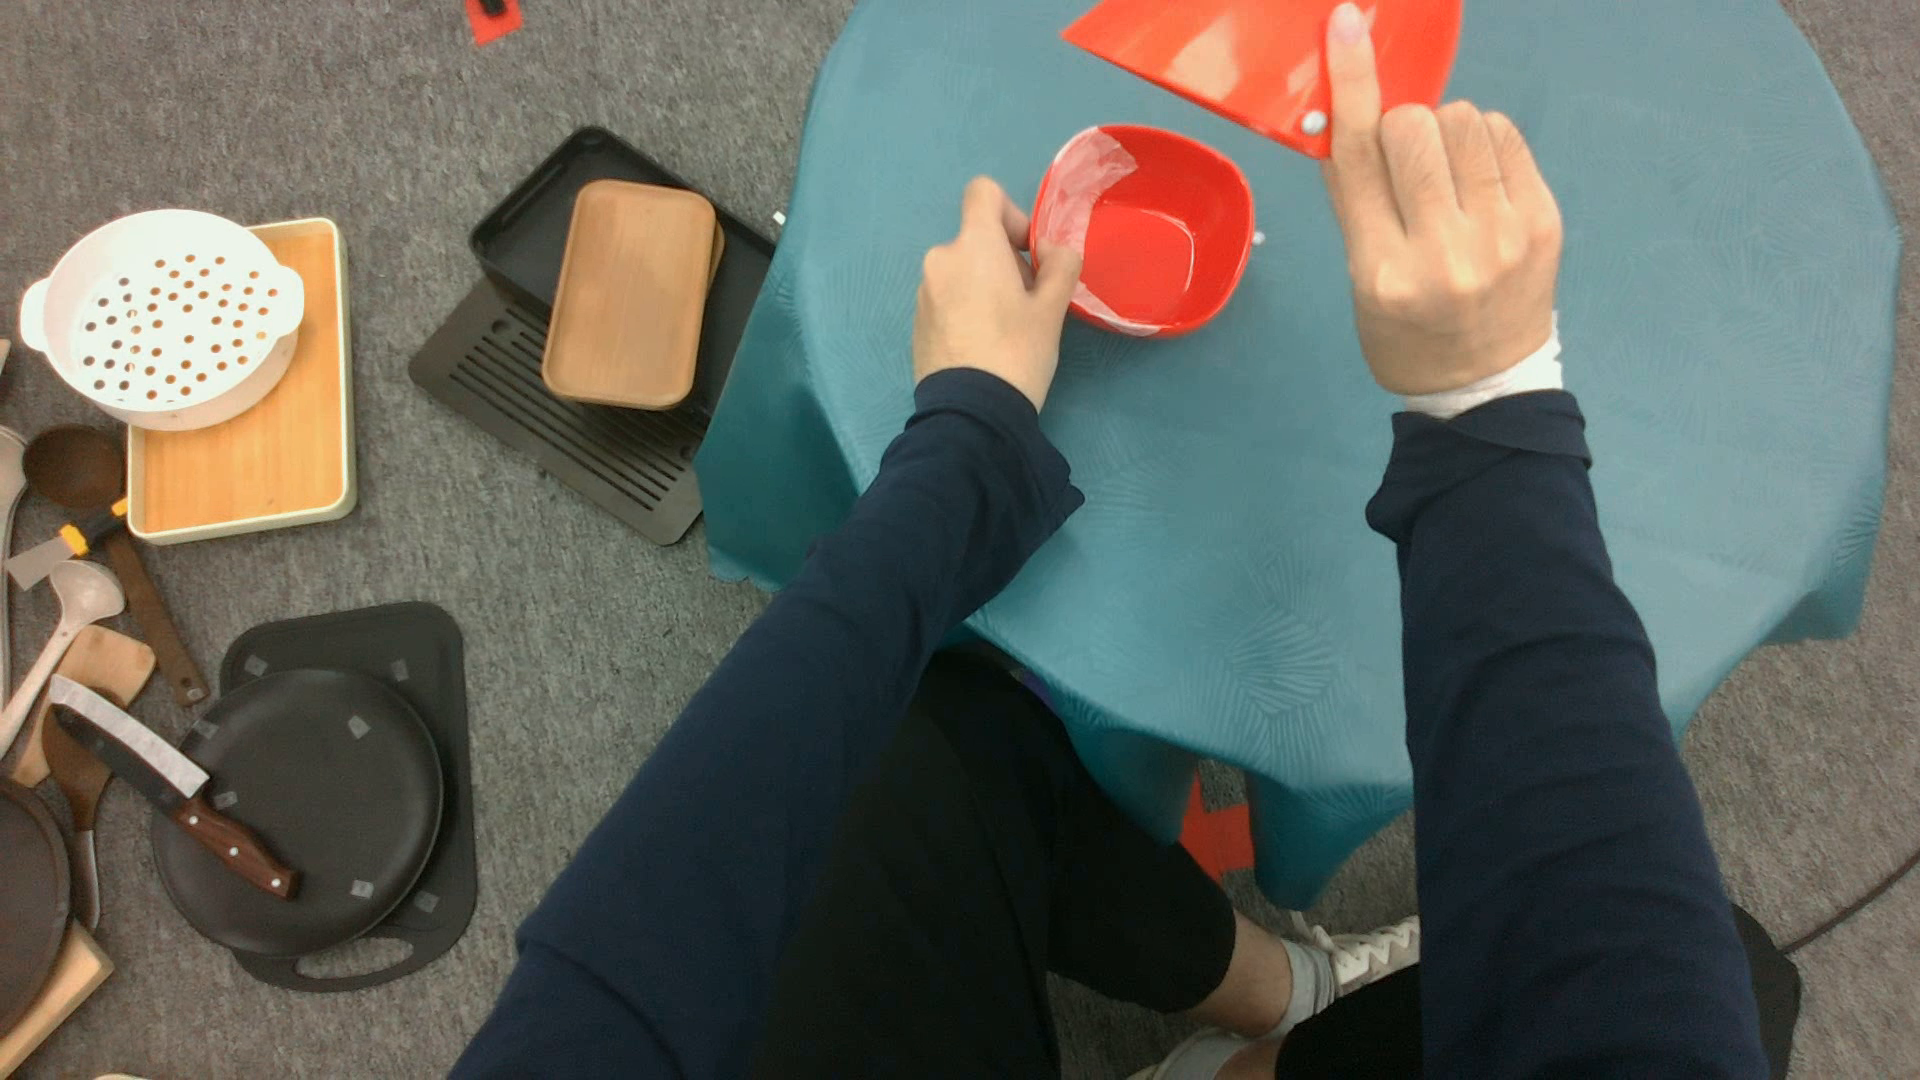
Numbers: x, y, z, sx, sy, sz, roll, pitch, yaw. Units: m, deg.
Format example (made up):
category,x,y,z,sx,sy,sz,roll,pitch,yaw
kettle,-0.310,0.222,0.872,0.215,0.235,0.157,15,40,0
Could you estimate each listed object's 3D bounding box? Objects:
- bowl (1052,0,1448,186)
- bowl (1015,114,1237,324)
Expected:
category,x,y,z,sx,sy,sz,roll,pitch,yaw
bowl,0.126,-0.207,0.541,0.148,0.148,0.104,36,103,8
bowl,0.082,-0.157,0.712,0.119,0.051,0.119,1,73,-3
